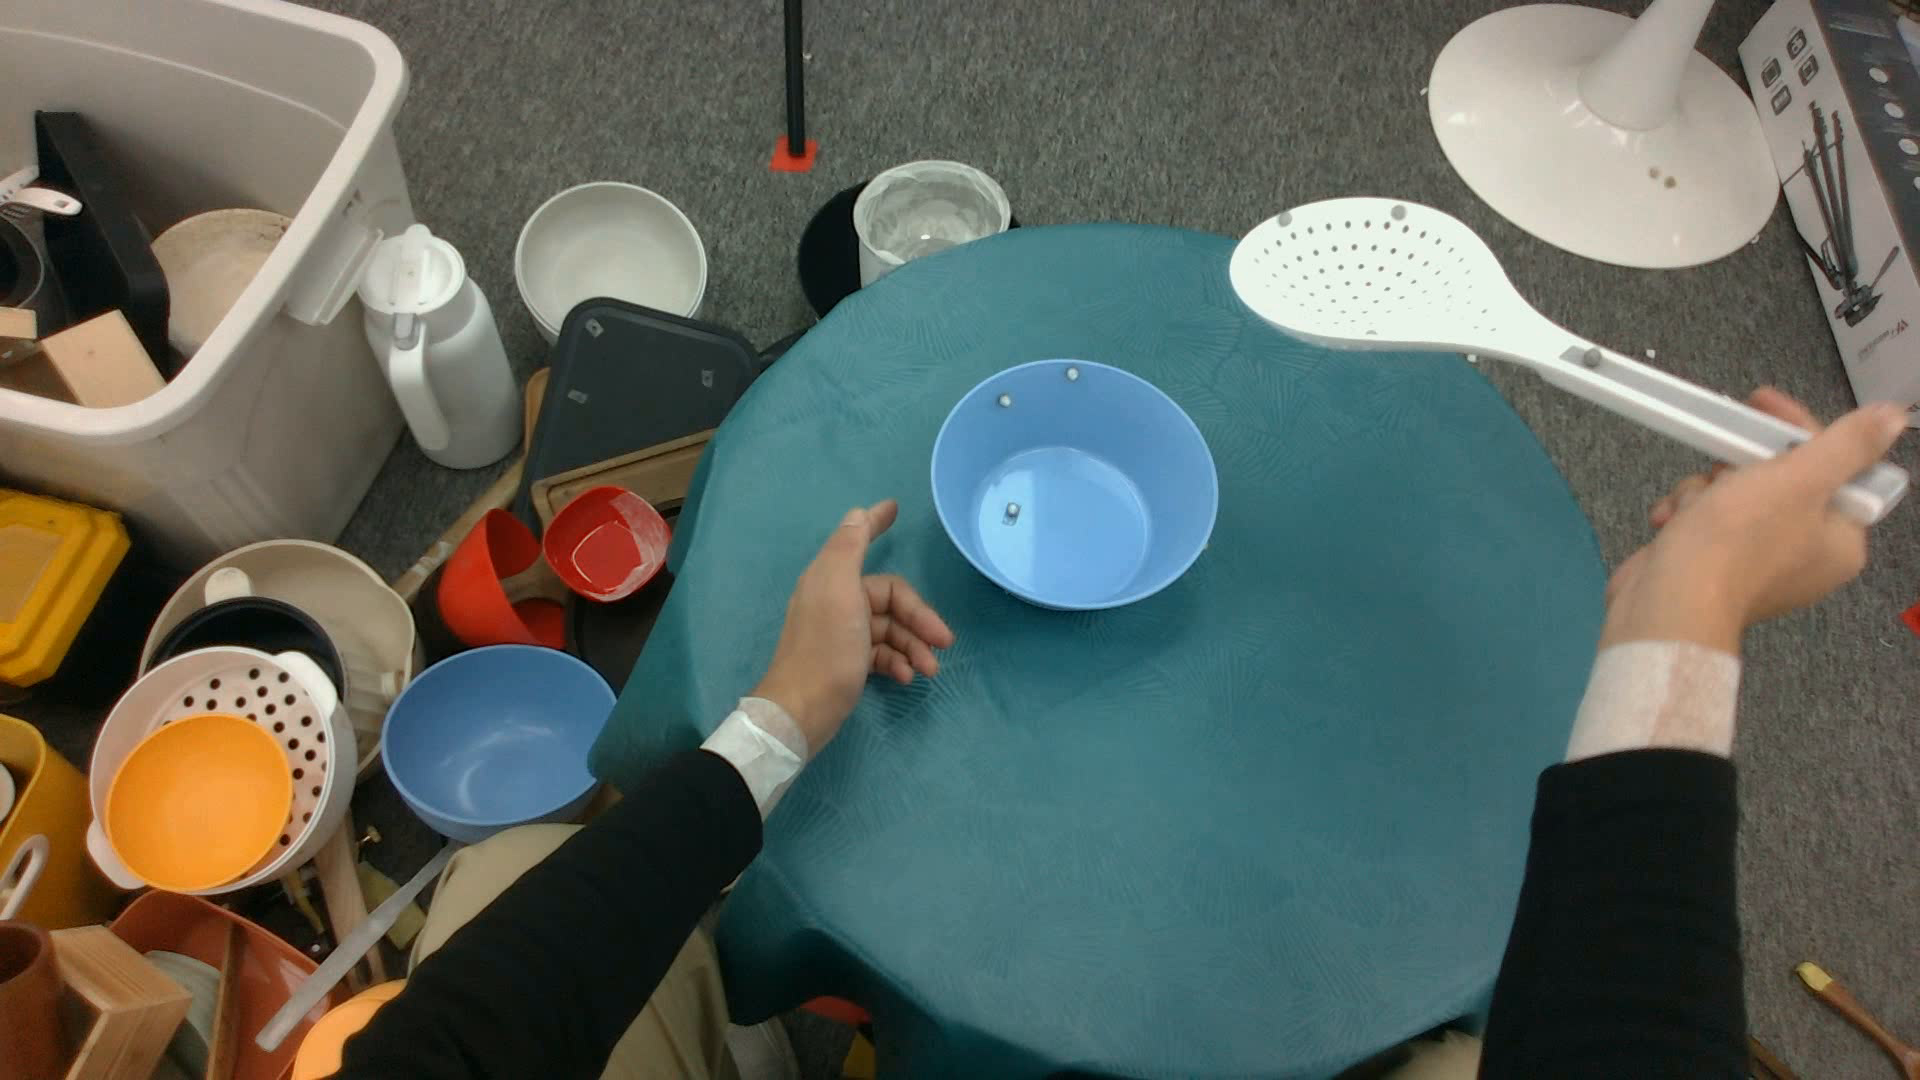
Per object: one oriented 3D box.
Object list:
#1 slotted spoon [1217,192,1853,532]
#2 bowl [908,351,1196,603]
[{"bbox_3d":[0.282,-0.100,0.715,0.136,0.045,0.350,-31,45,-25],"label":"slotted spoon"},{"bbox_3d":[0.054,-0.028,0.859,0.176,0.070,0.177,2,62,-4],"label":"bowl"}]
